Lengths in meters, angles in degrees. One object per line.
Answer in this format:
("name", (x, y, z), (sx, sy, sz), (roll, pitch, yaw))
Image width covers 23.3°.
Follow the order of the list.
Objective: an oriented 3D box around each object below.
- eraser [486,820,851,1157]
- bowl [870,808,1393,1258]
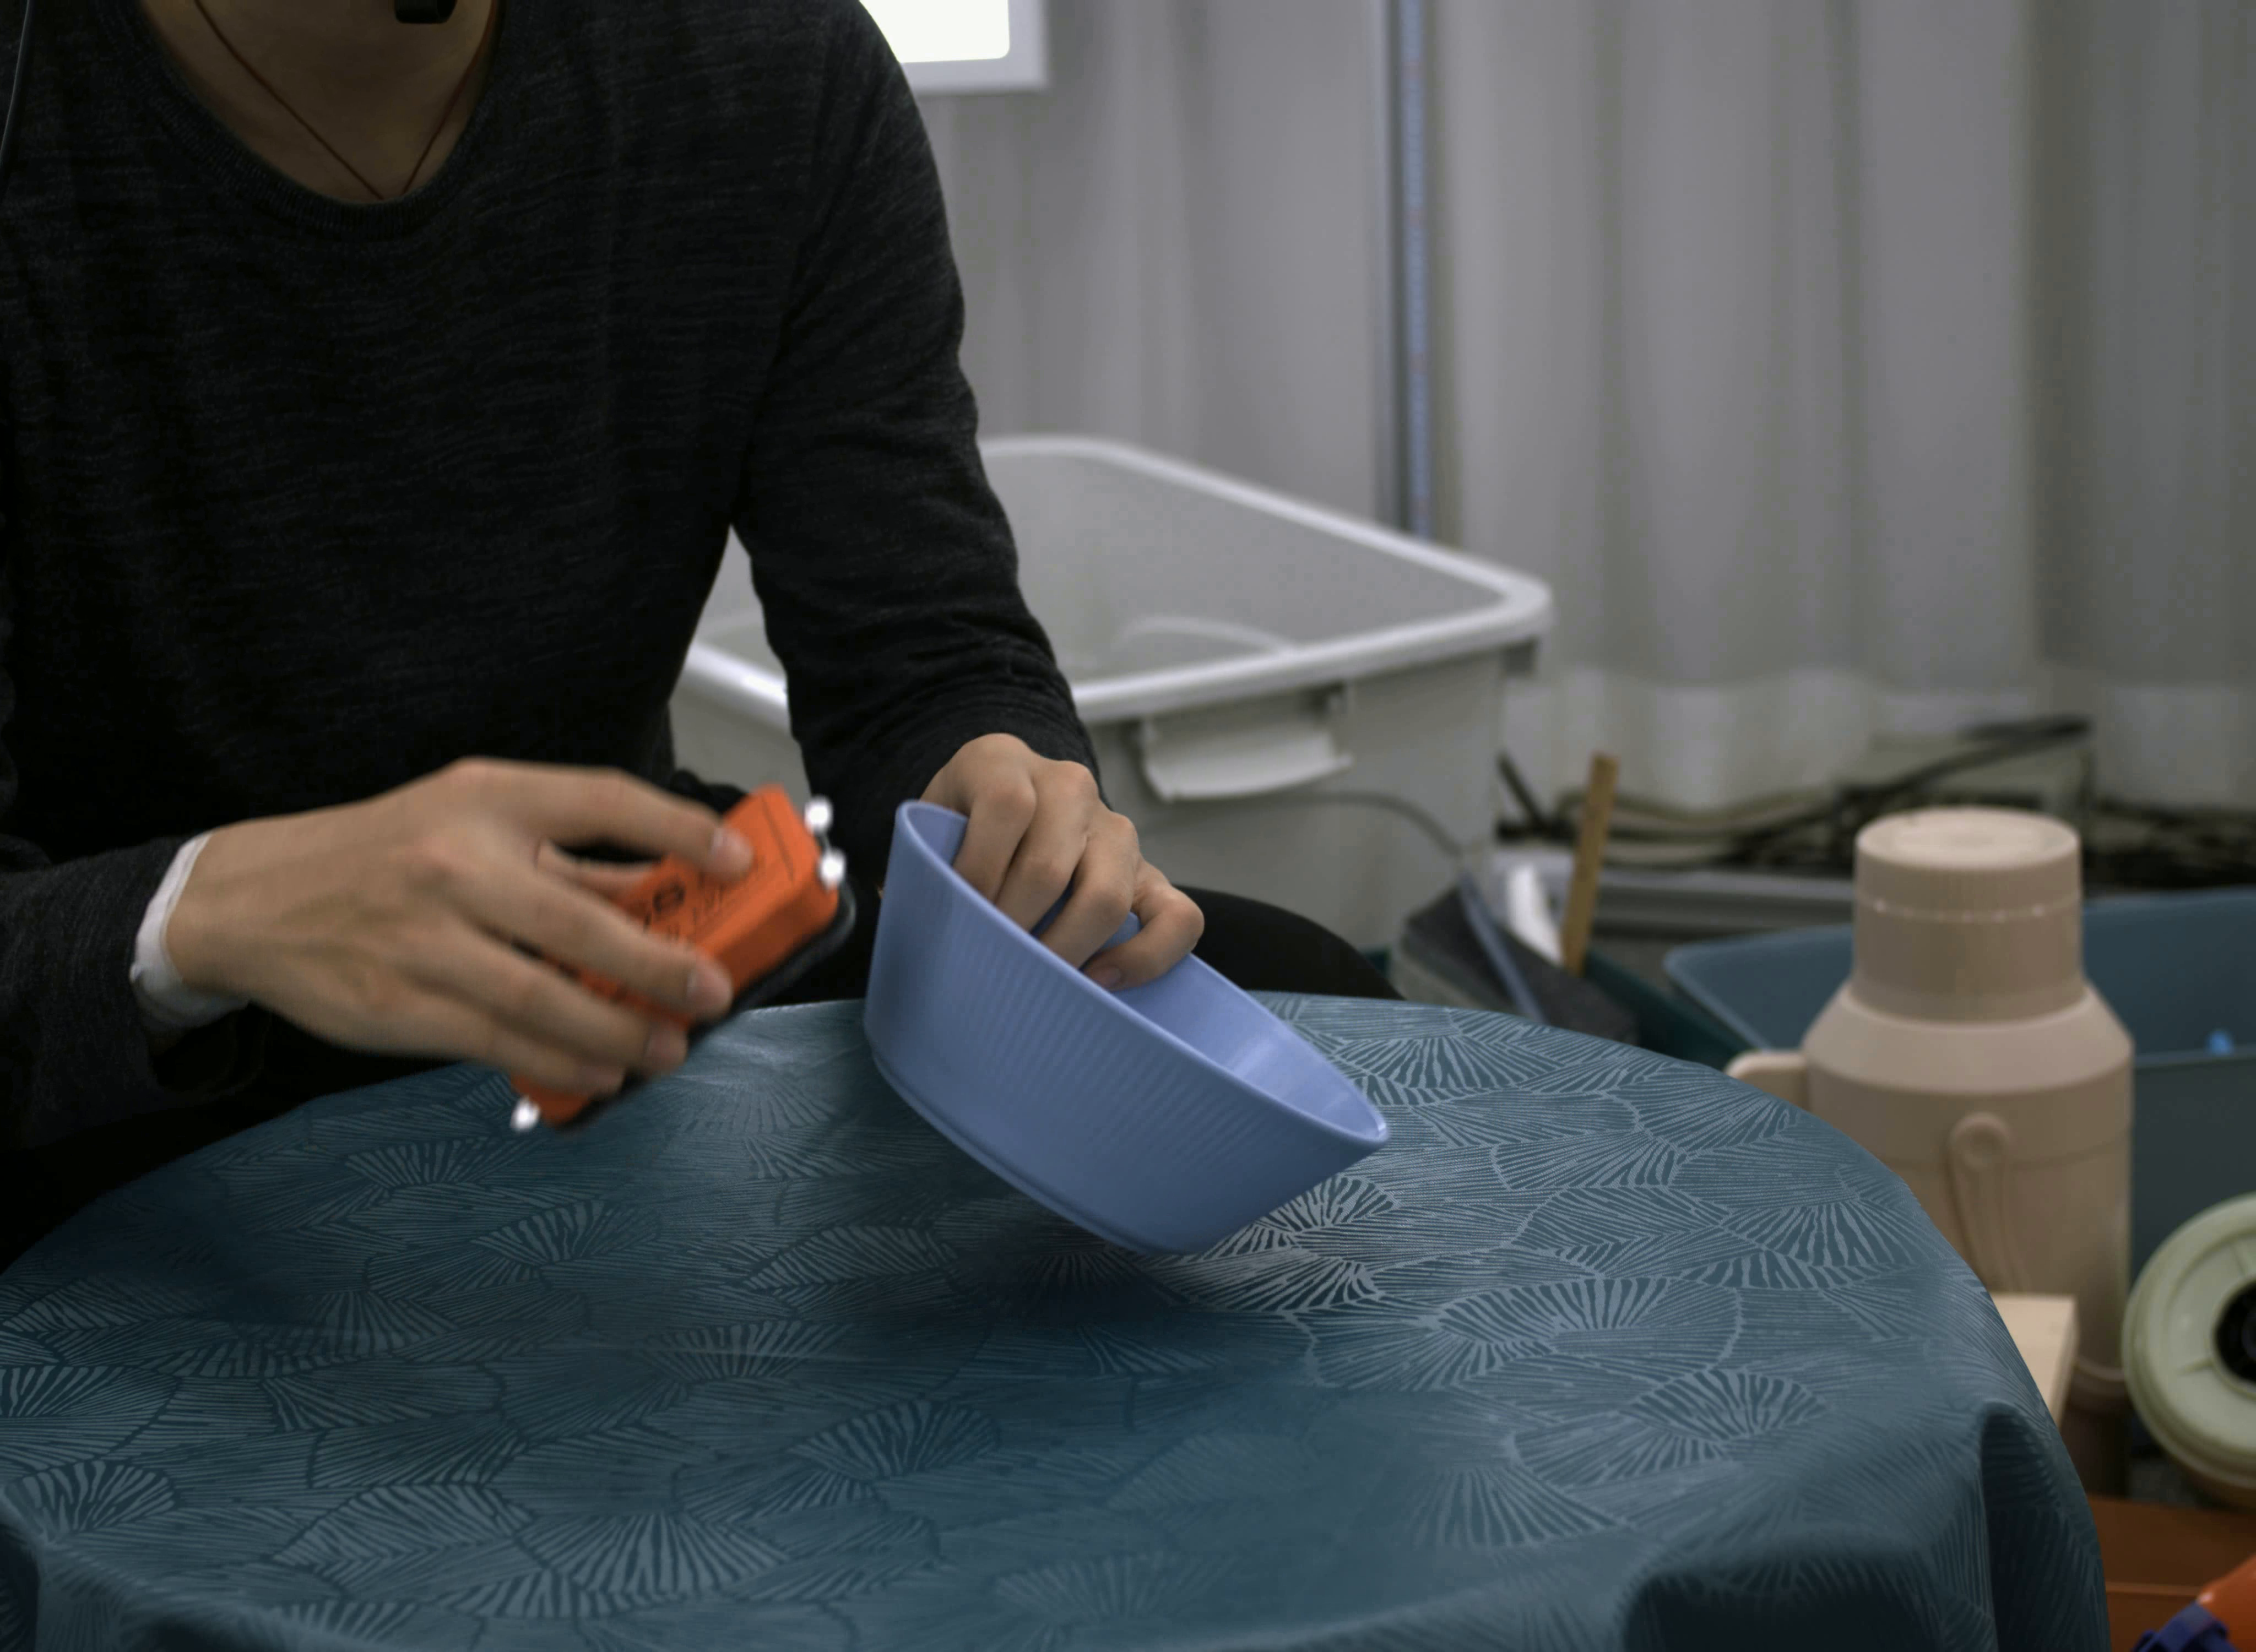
("eraser", (-0.131, 0.046, 1.556), (0.108, 0.022, 0.060), (-35, 32, 6))
("bowl", (-0.011, 0.070, 1.627), (0.175, 0.070, 0.176), (32, 6, -4))
